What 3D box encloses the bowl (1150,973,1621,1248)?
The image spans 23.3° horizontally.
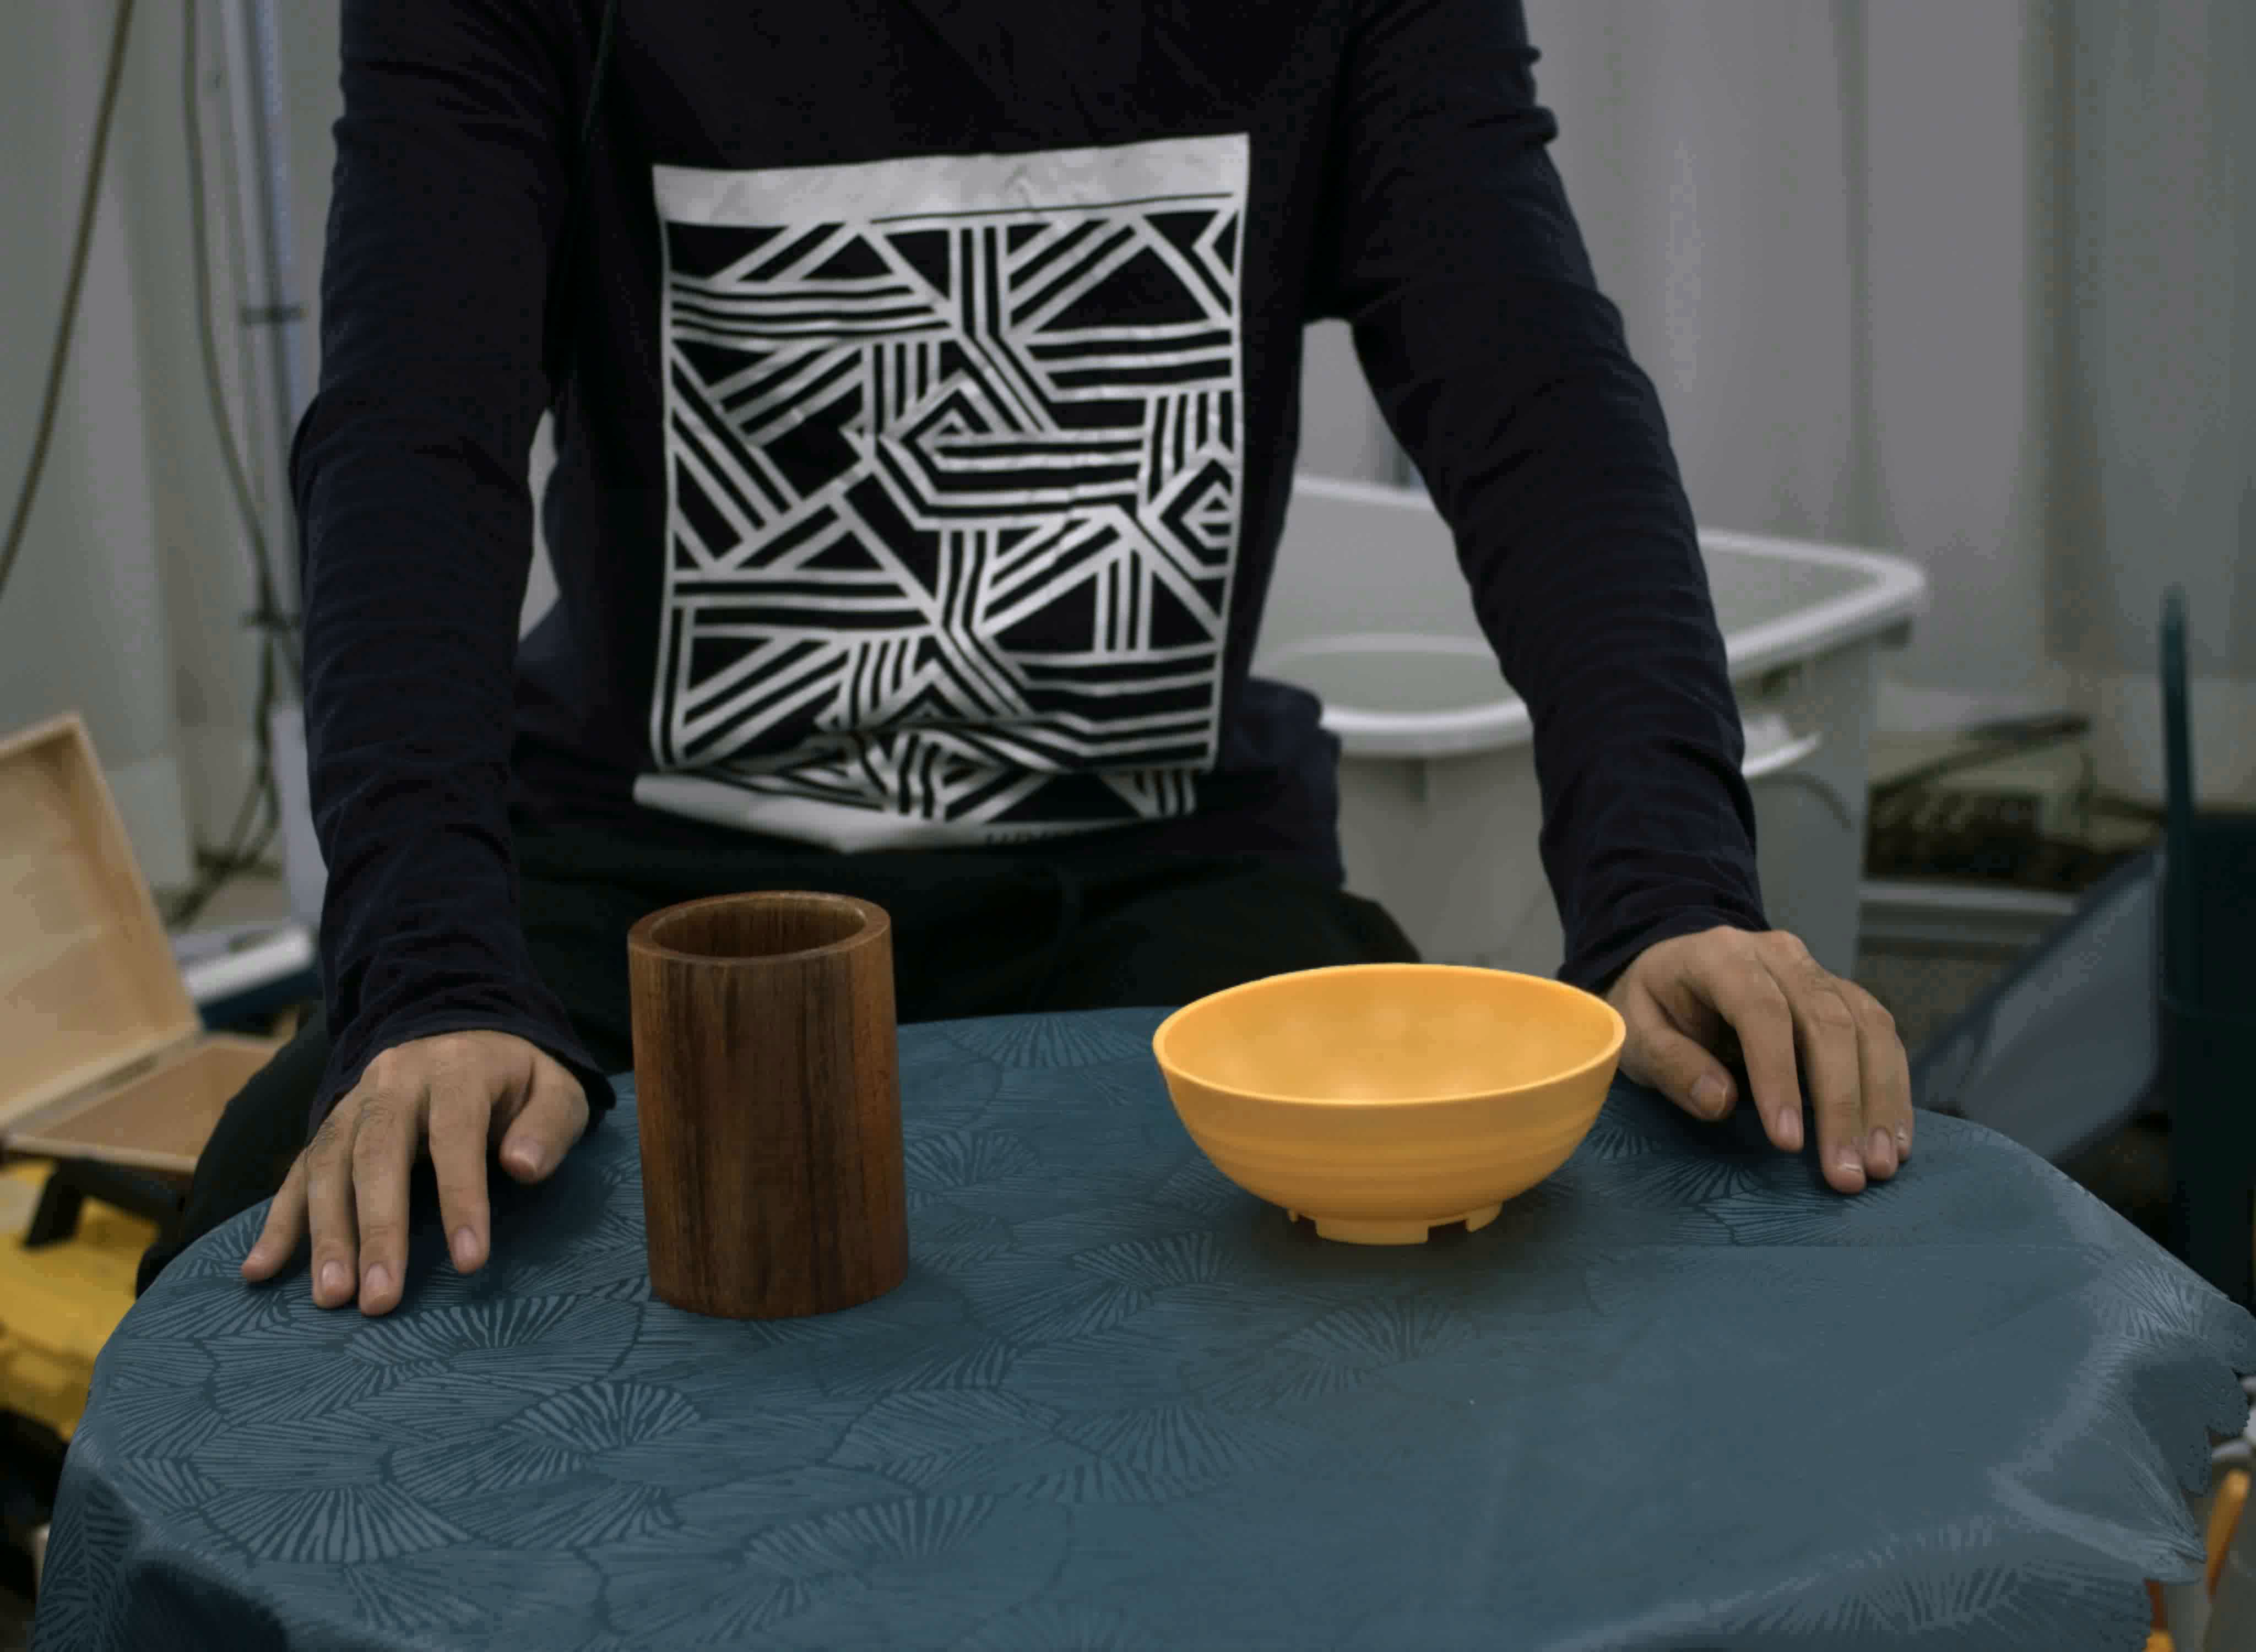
[{"bbox_3d":[0.080,0.091,1.678,0.145,0.060,0.146,-3,13,0],"label":"bowl"}]

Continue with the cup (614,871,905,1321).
[{"bbox_3d":[-0.110,0.080,1.642,0.087,0.118,0.088,-1,14,0],"label":"cup"}]
